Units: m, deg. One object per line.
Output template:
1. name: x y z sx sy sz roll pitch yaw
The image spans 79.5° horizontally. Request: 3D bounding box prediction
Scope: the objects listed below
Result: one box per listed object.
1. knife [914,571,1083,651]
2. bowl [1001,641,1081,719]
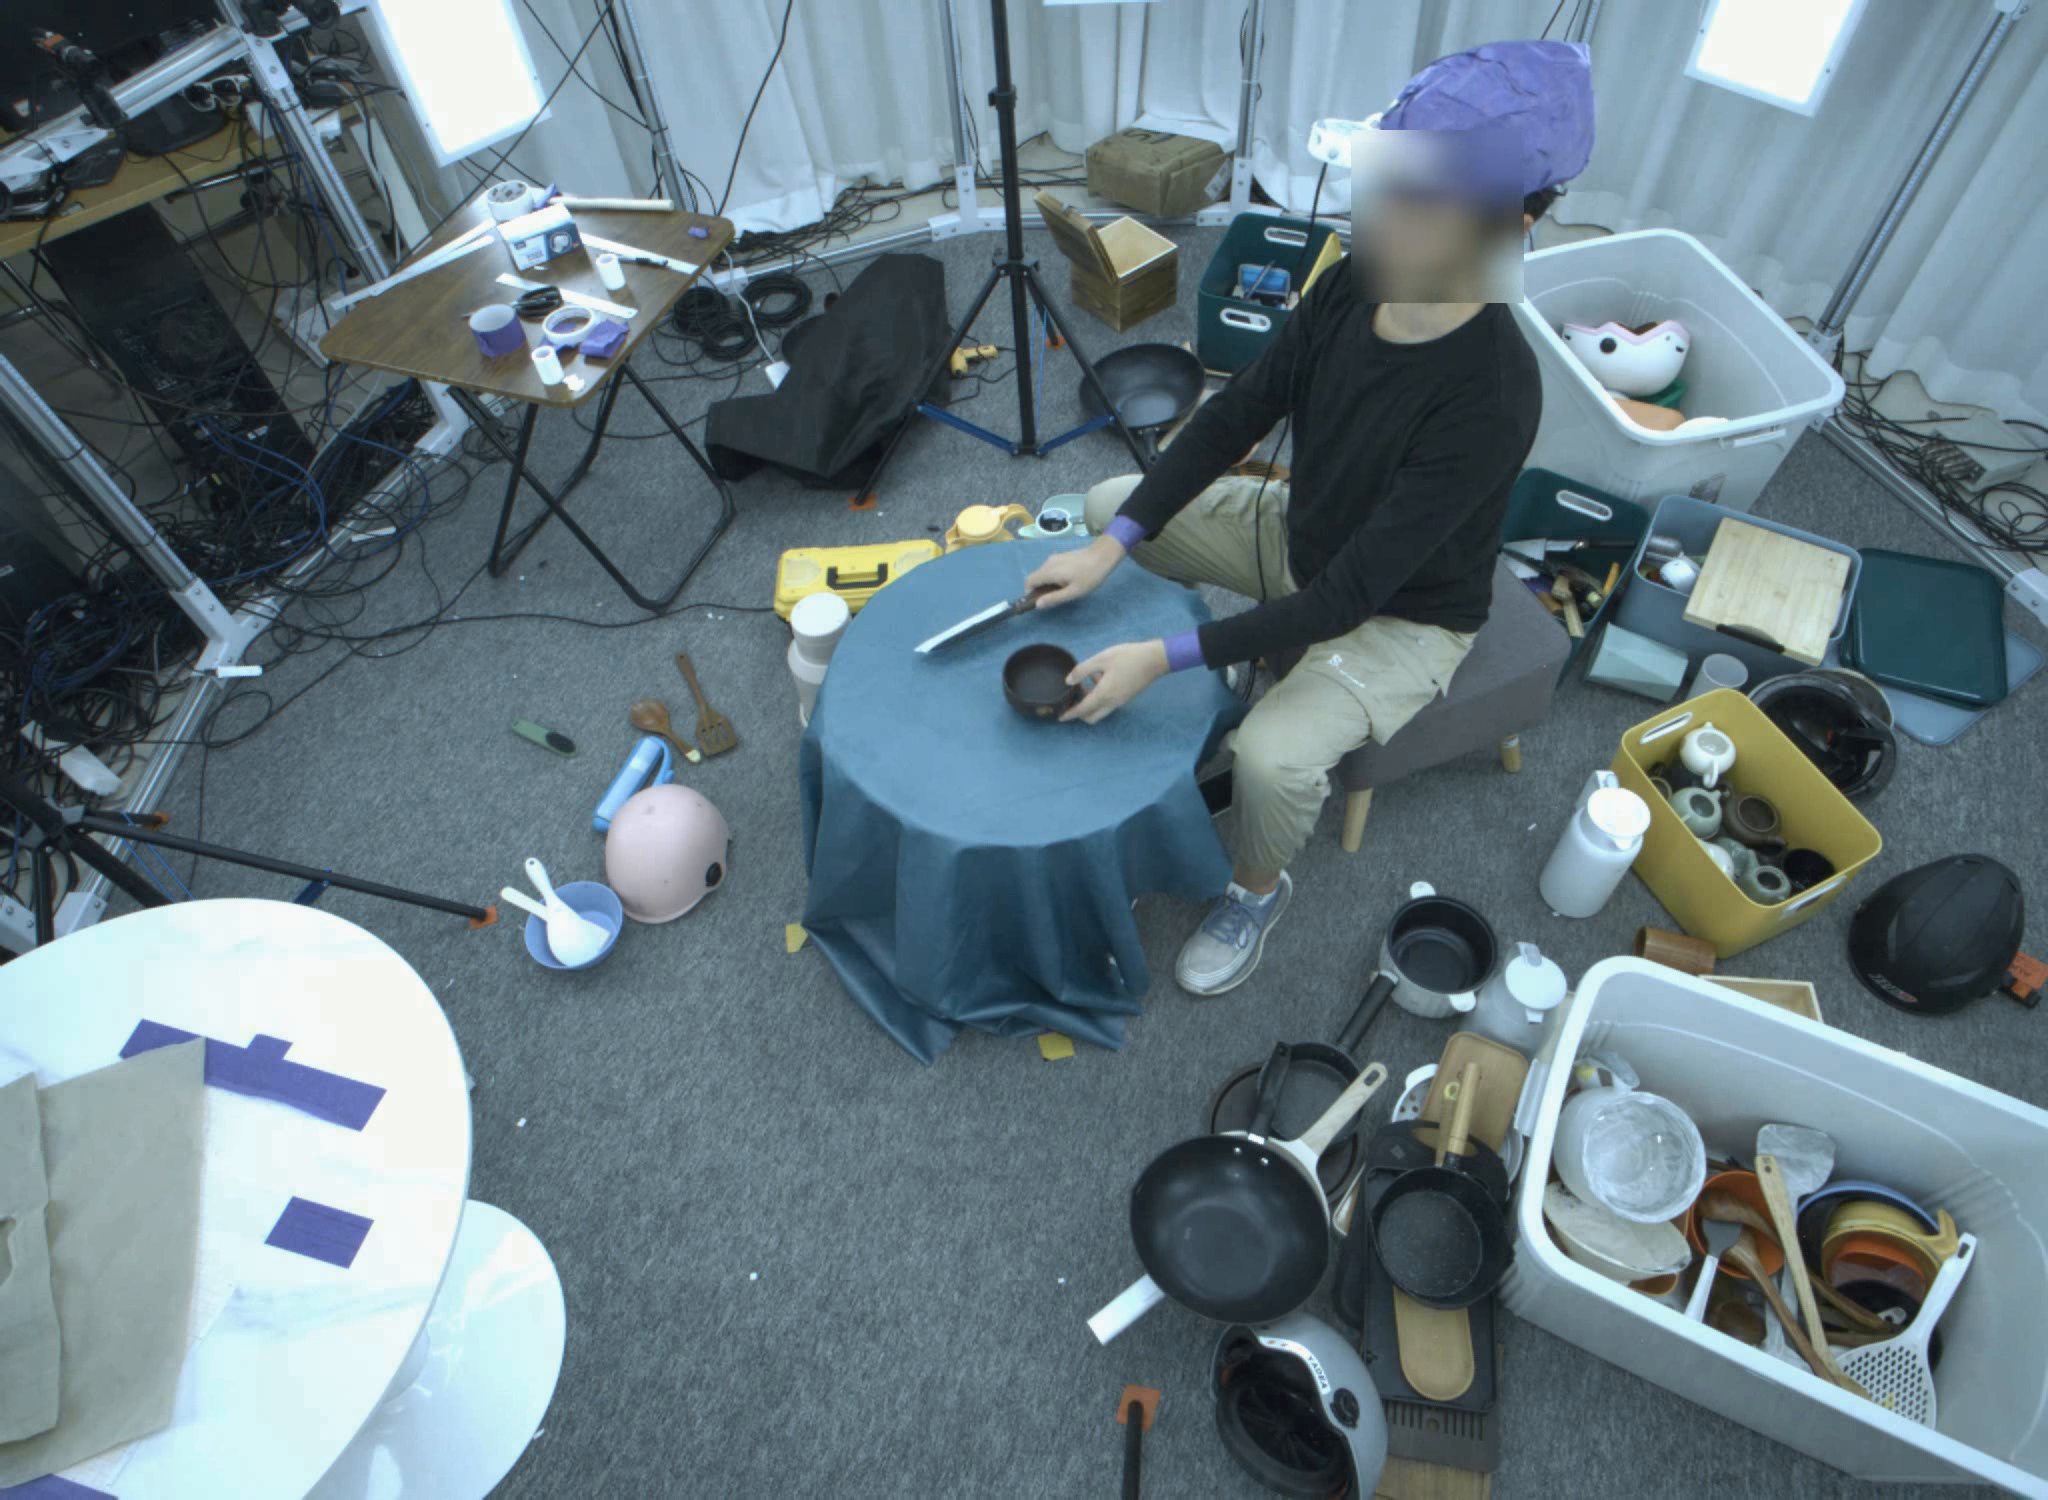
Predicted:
1. knife: -0.039 -0.213 1.898 0.291 0.020 0.049 -26 40 -12
2. bowl: 0.025 -0.094 1.805 0.118 0.070 0.117 0 54 1
